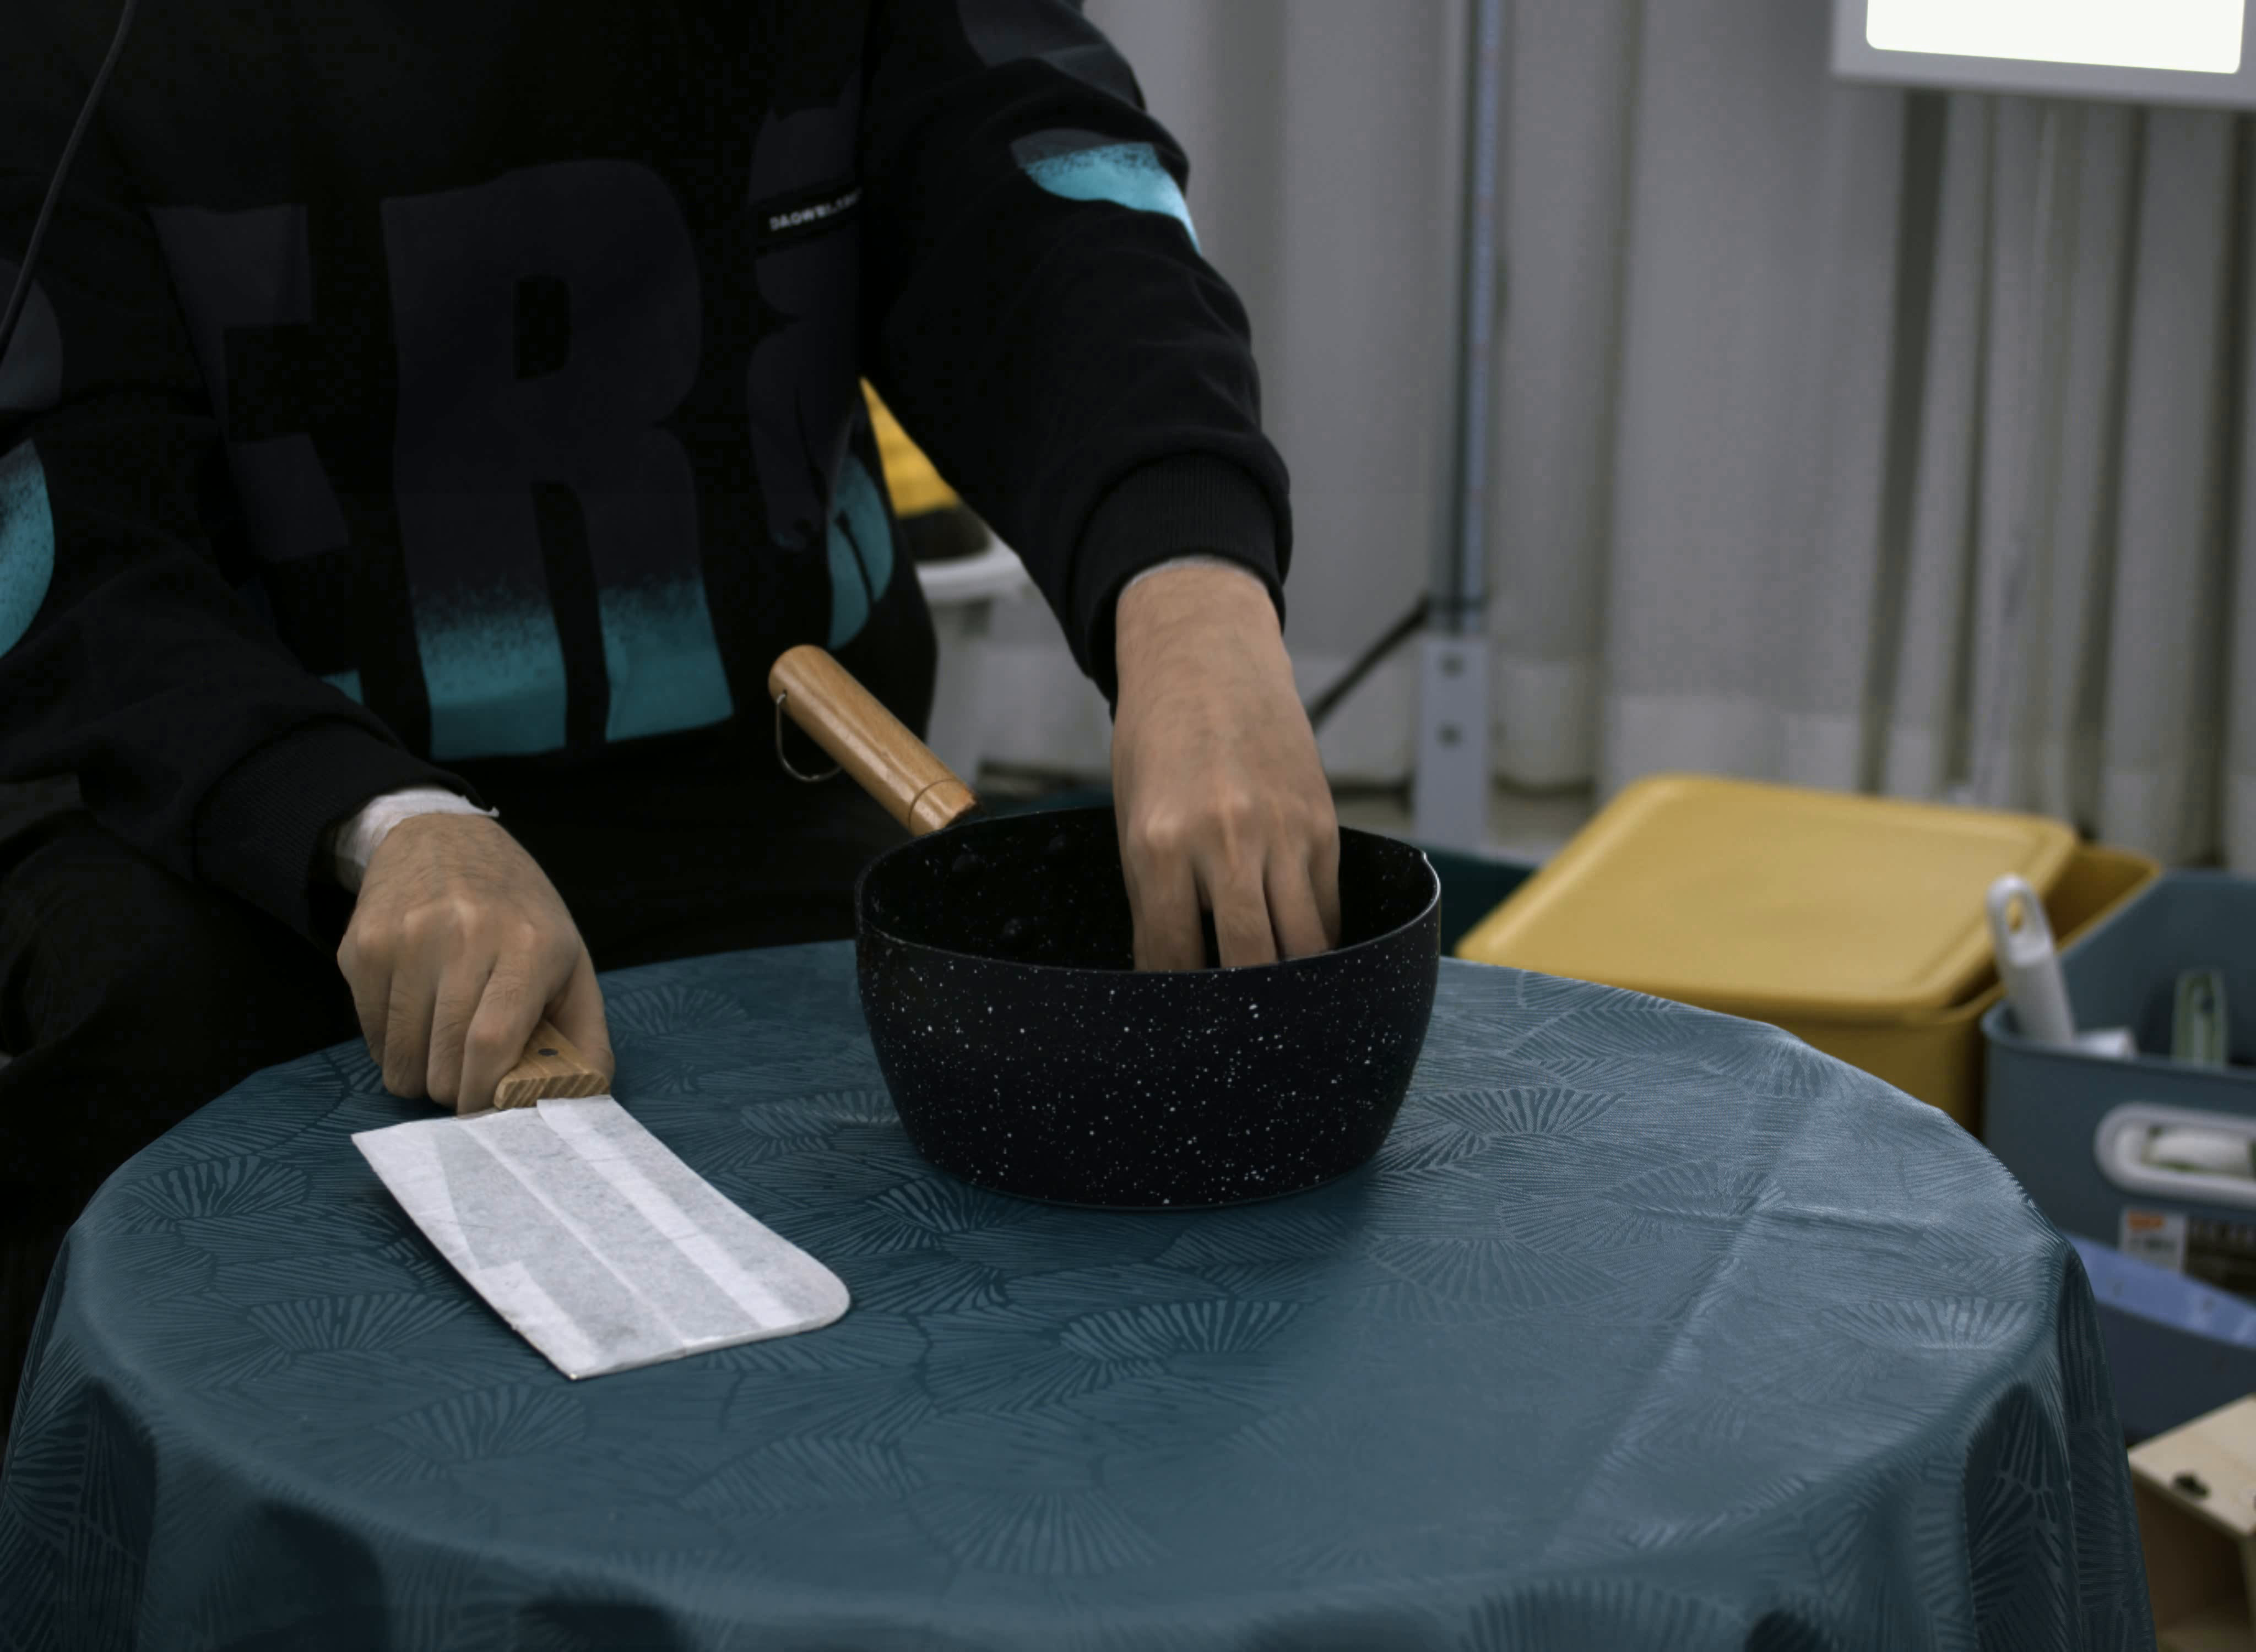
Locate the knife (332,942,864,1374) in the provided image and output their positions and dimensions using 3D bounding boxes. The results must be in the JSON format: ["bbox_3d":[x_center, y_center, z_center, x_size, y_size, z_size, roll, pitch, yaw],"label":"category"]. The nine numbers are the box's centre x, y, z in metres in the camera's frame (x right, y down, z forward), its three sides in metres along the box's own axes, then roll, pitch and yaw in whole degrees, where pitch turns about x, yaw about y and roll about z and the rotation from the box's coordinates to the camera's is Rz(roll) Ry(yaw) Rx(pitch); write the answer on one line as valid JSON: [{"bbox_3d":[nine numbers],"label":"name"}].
[{"bbox_3d":[-0.179,0.098,1.614,0.114,0.022,0.311,-6,22,-24],"label":"knife"}]

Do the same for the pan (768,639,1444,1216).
[{"bbox_3d":[-0.034,0.028,1.720,0.208,0.109,0.338,-10,20,-30],"label":"pan"}]
